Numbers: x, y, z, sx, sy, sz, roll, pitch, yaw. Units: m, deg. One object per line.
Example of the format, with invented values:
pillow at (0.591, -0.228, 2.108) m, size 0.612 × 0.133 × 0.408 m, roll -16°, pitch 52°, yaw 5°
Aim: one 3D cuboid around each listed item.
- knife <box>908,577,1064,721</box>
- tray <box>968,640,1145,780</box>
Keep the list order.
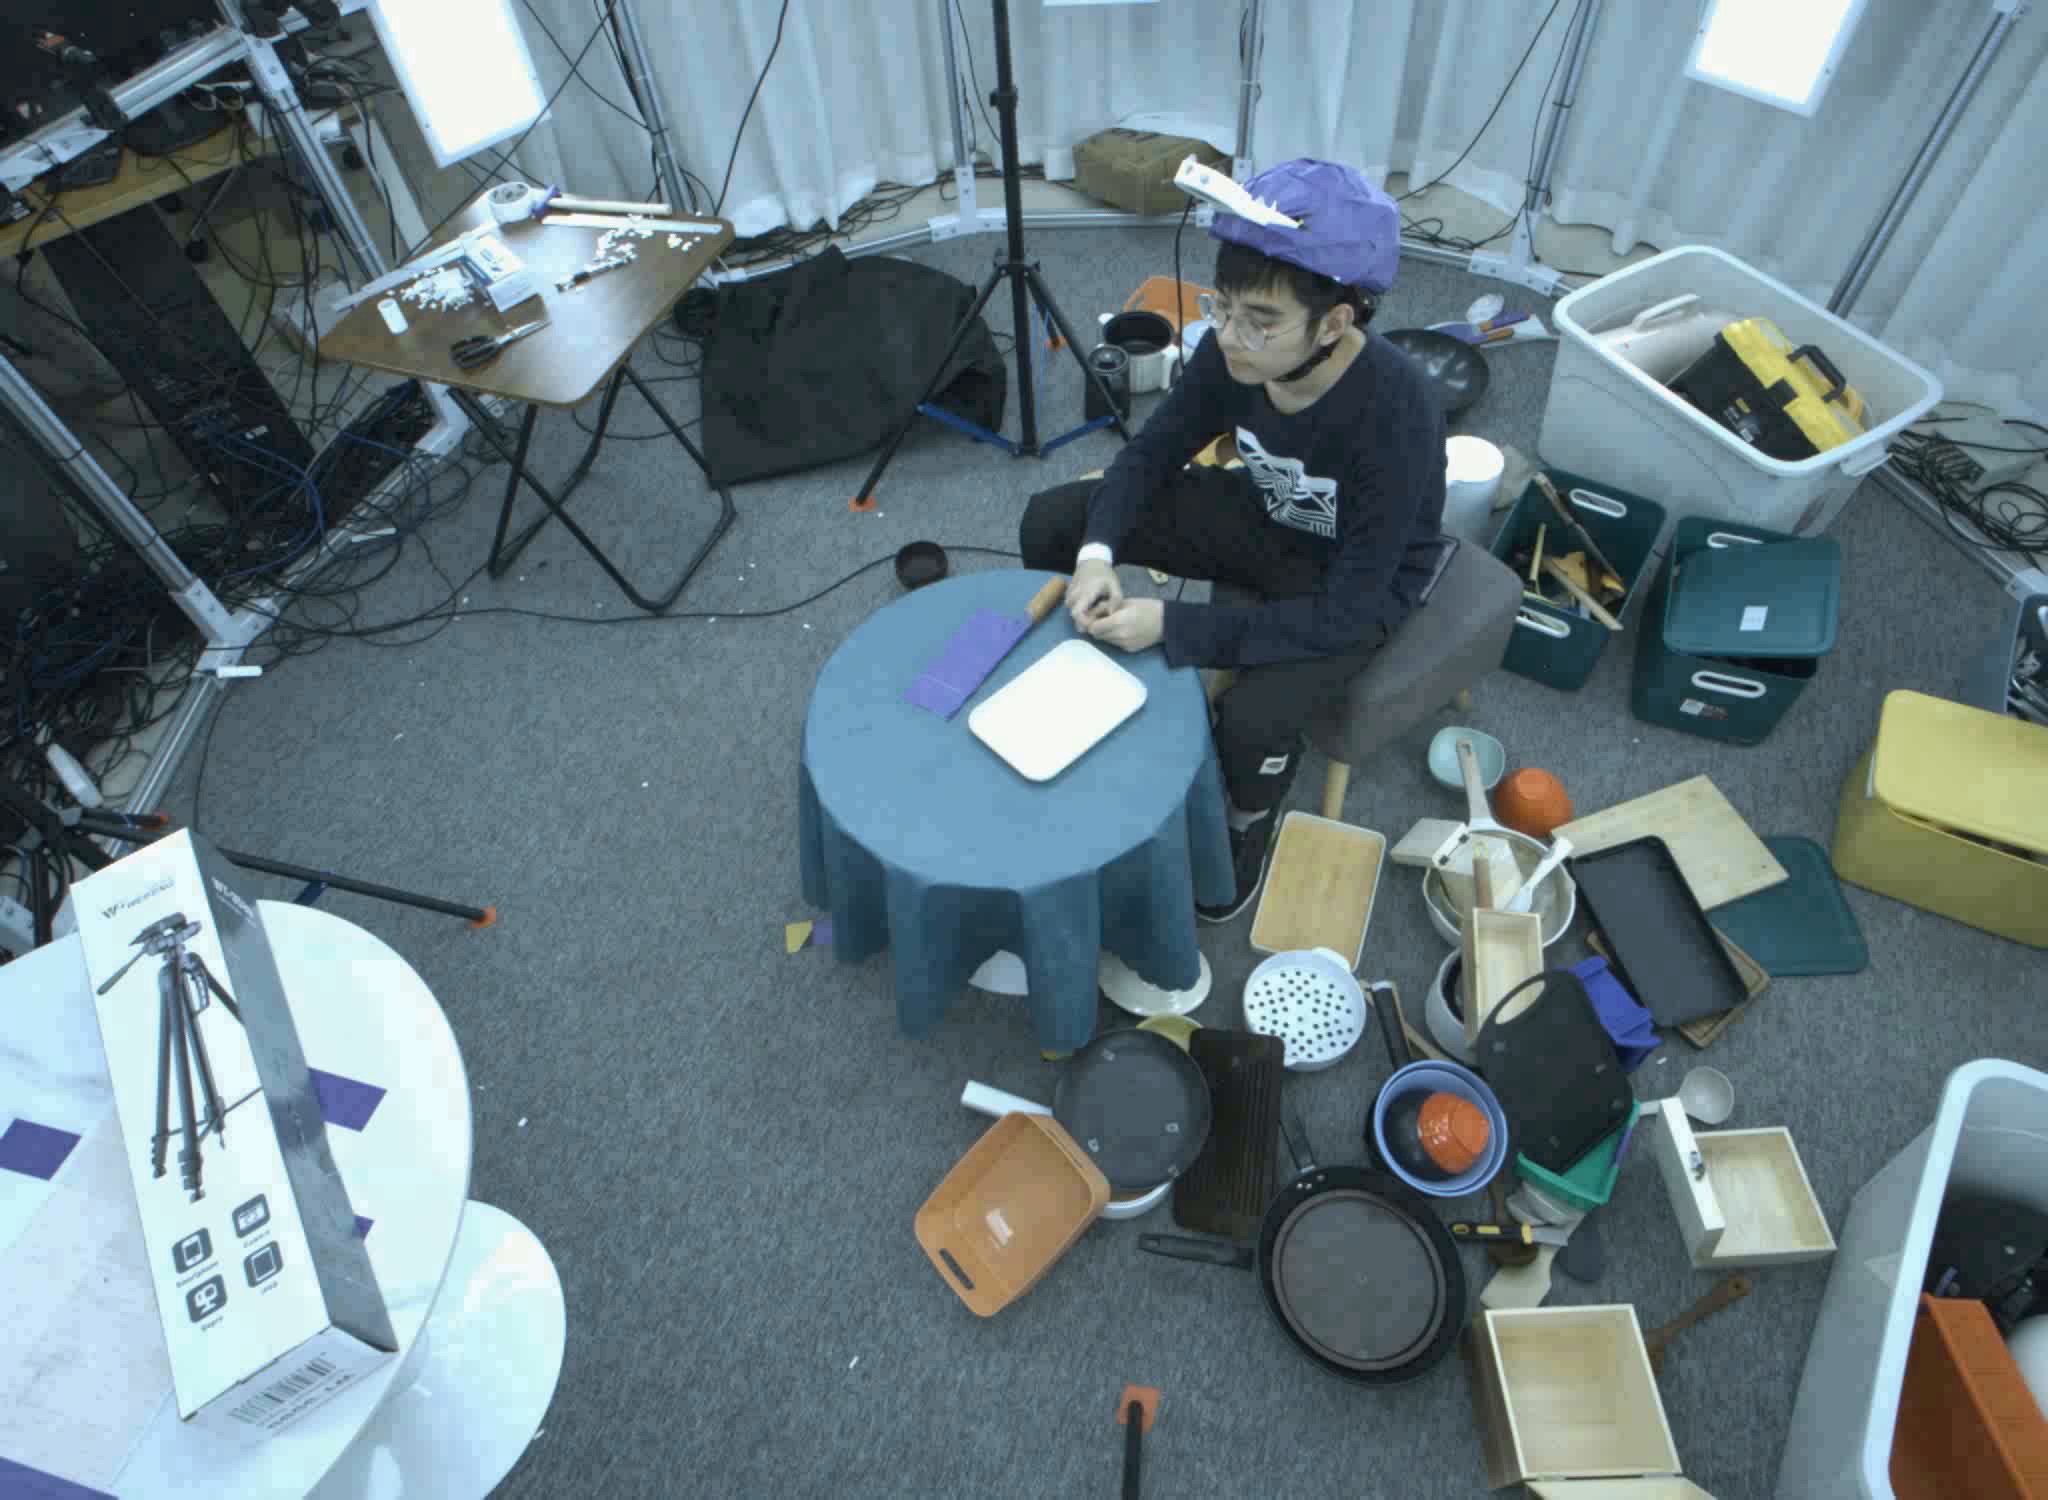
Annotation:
knife at (-0.060, -0.173, 1.904) m, size 0.102 × 0.032 × 0.316 m, roll 29°, pitch 60°, yaw 20°
tray at (0.049, -0.061, 1.827) m, size 0.241 × 0.017 × 0.168 m, roll -38°, pitch 61°, yaw -23°
